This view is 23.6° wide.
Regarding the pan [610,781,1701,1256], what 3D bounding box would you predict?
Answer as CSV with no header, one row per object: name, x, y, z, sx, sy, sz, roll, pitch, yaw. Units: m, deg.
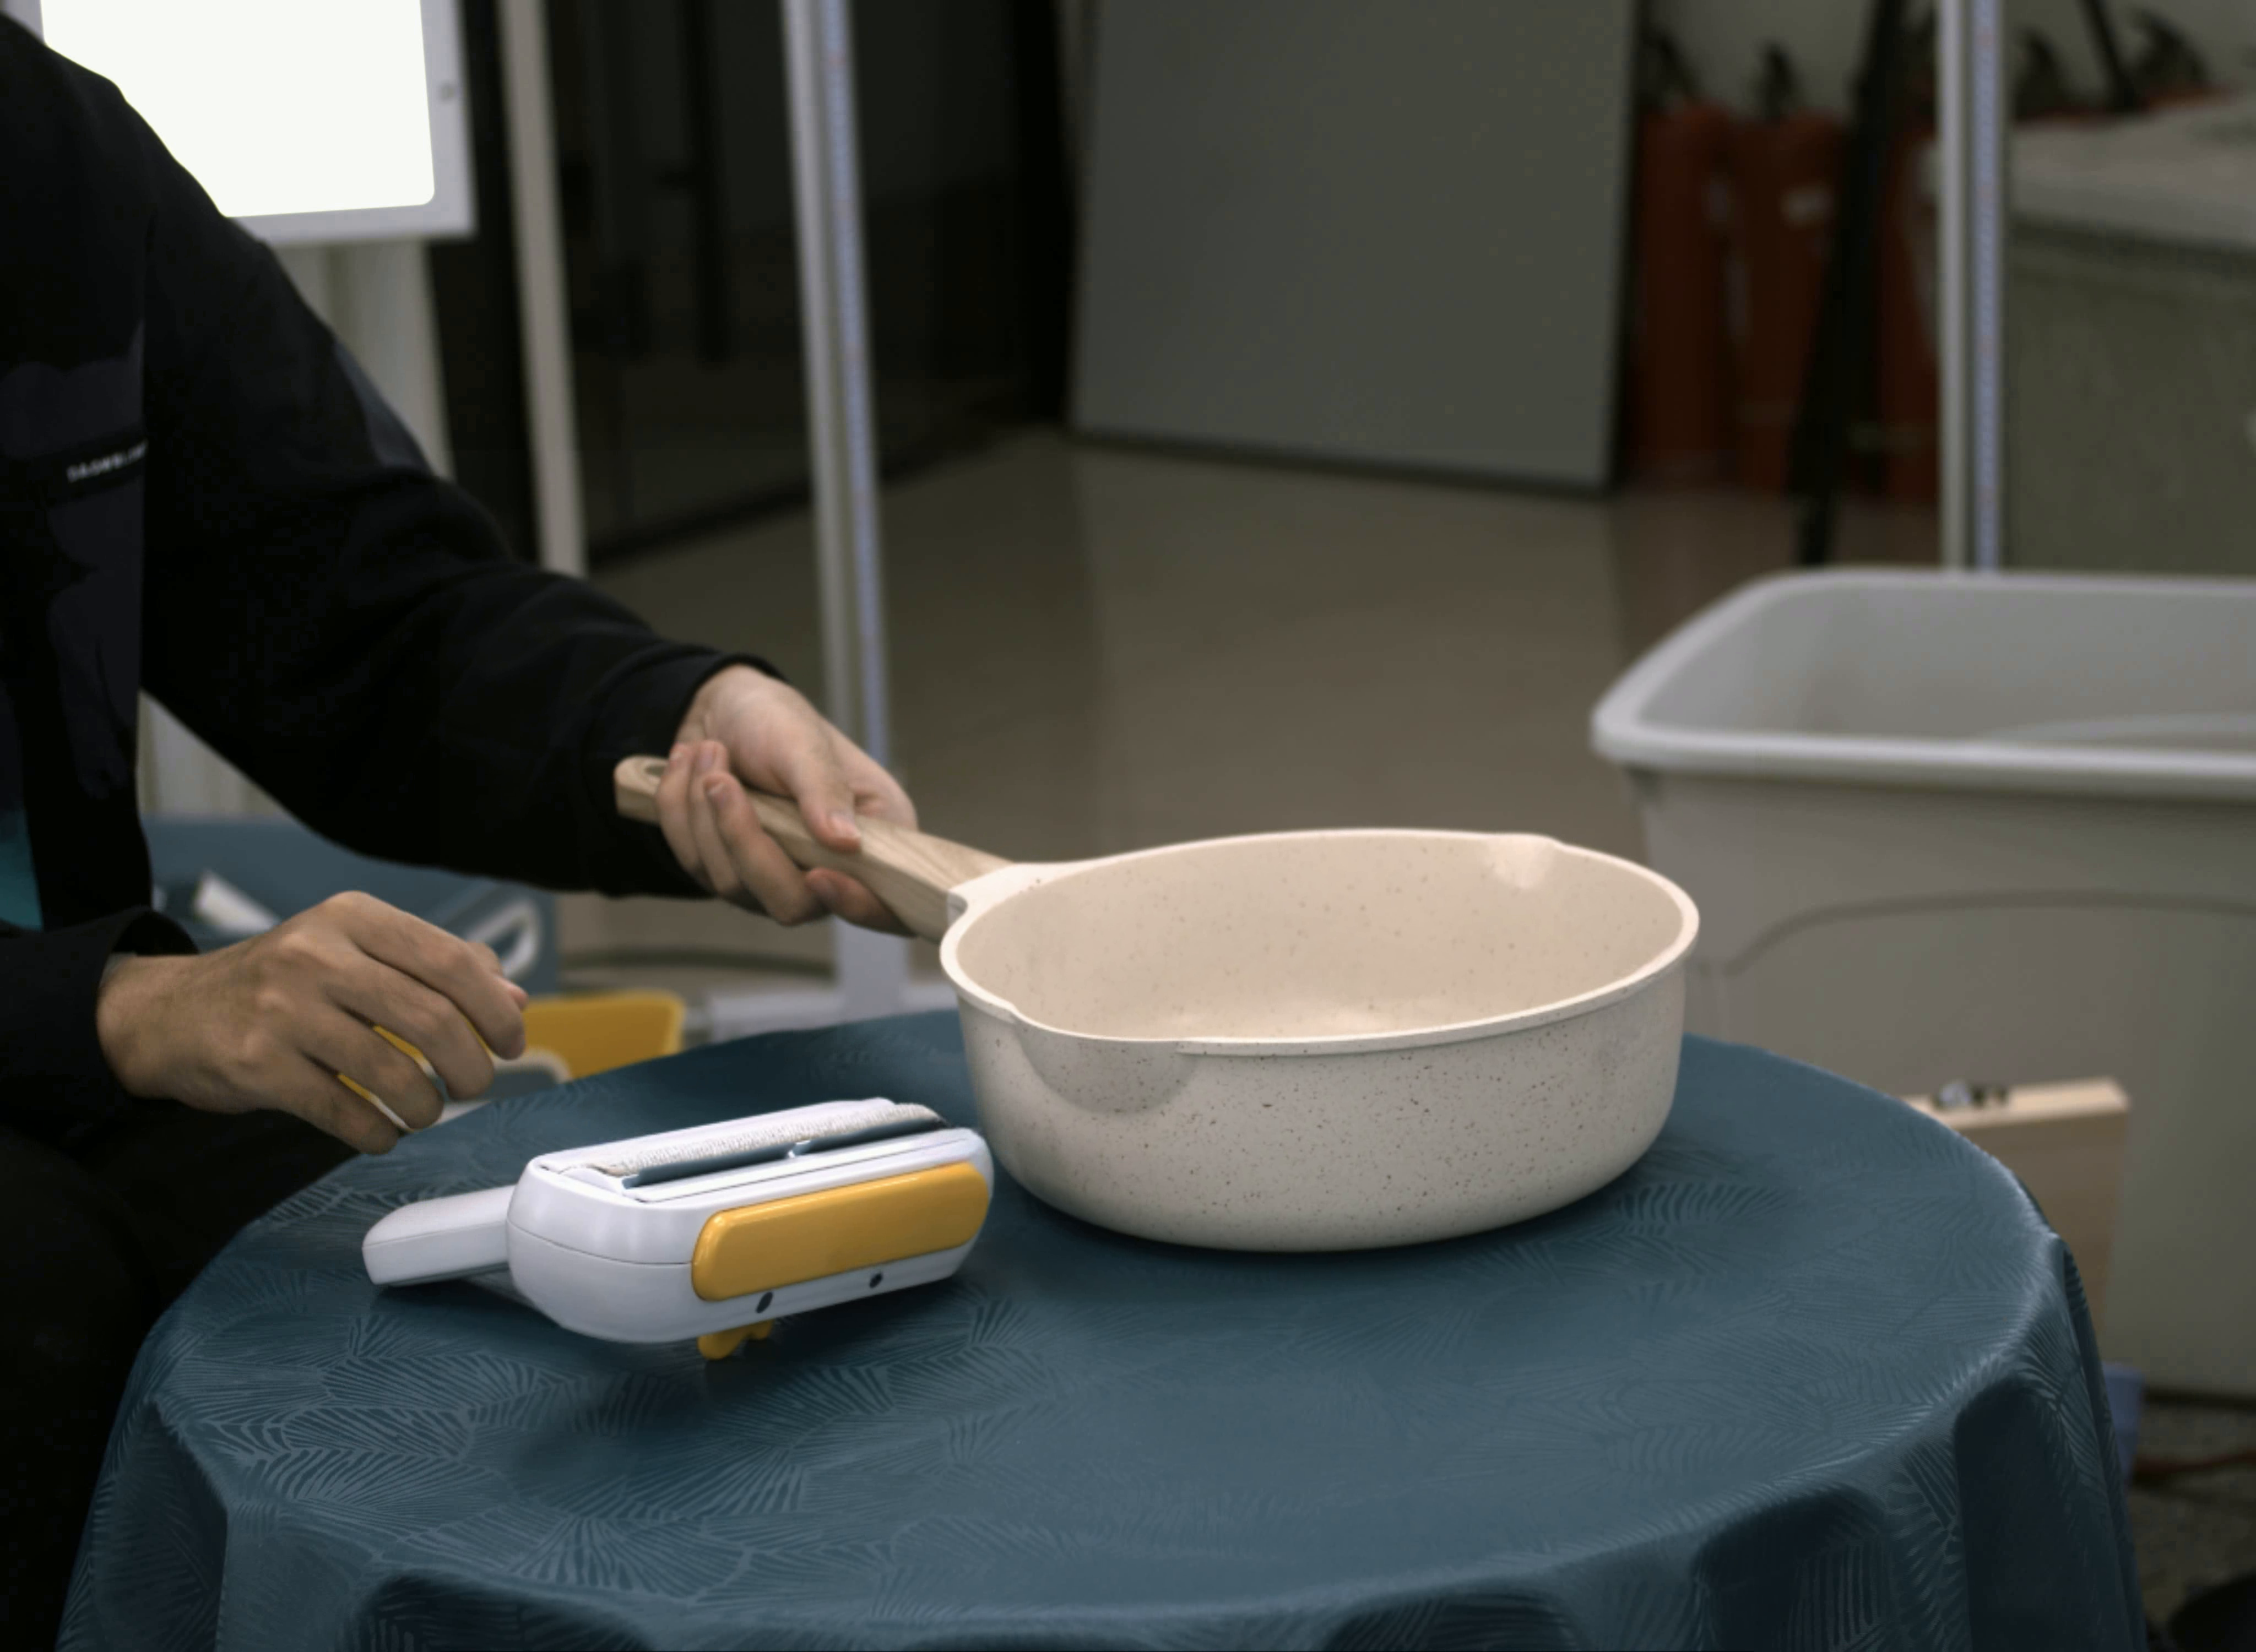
pan,-0.006,0.054,1.835,0.438,0.103,0.259,7,20,38

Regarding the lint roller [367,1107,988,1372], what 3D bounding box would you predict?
lint roller,-0.162,0.123,1.672,0.194,0.075,0.189,4,10,38
